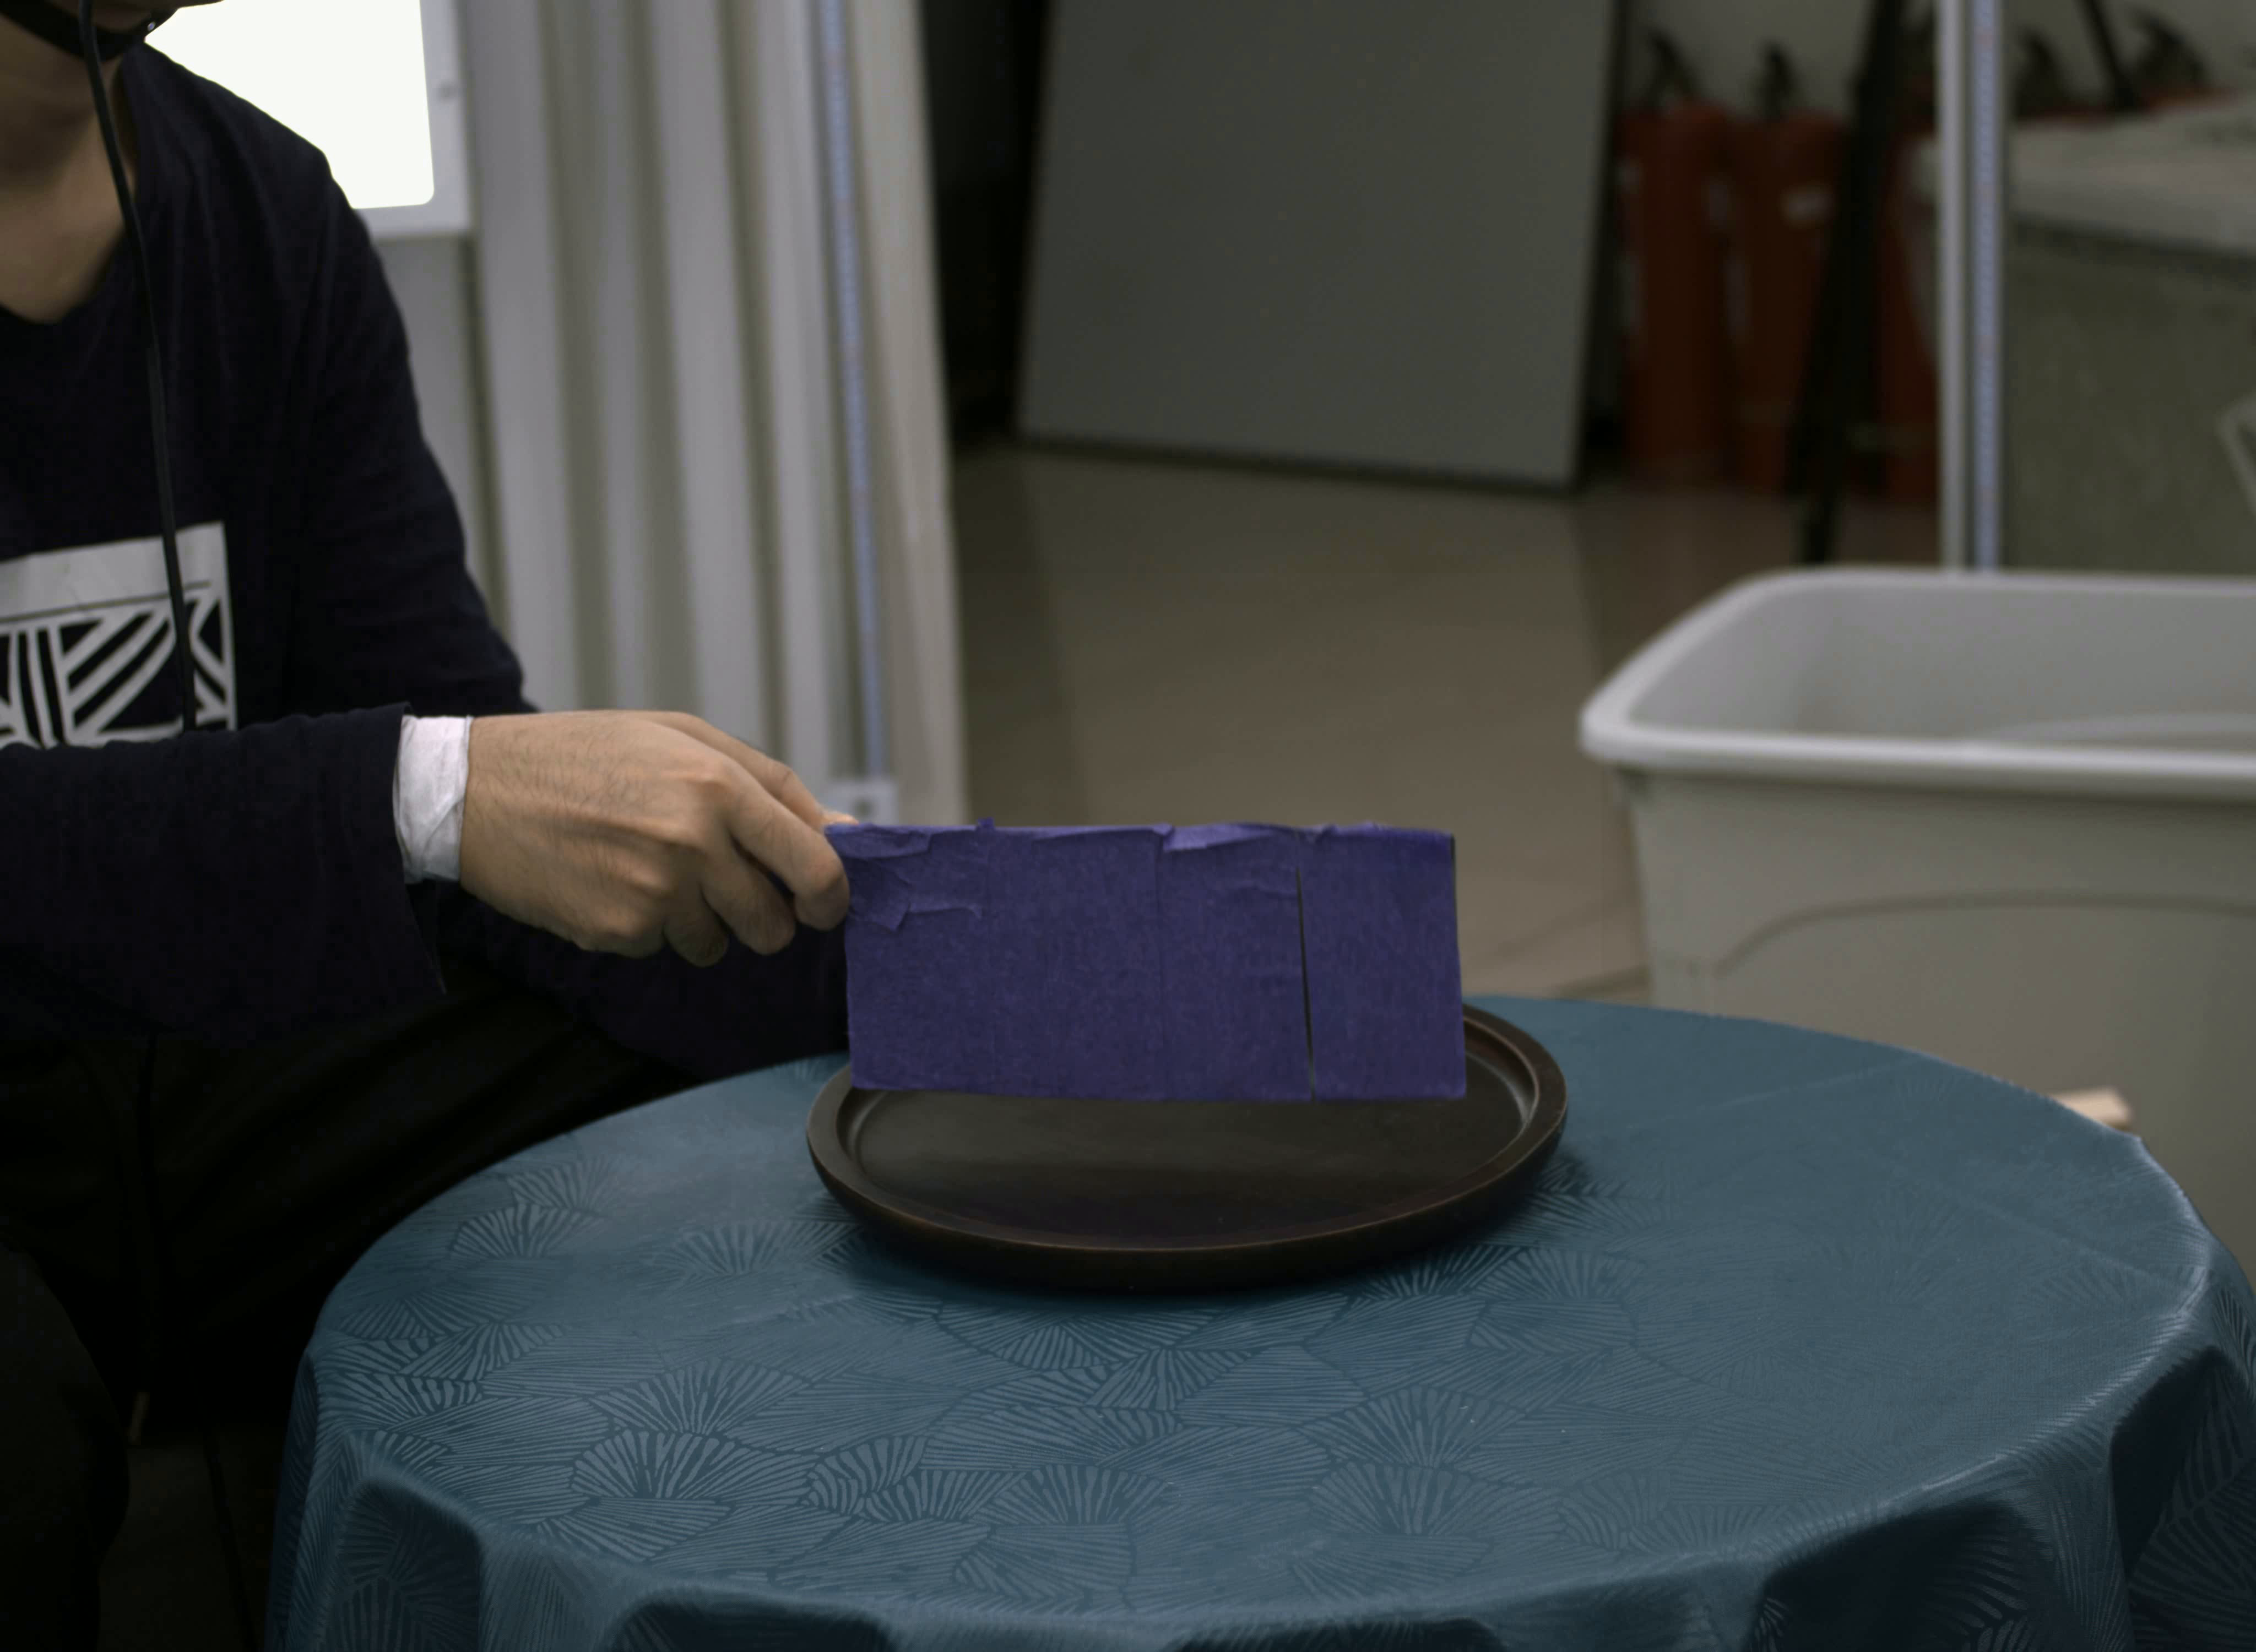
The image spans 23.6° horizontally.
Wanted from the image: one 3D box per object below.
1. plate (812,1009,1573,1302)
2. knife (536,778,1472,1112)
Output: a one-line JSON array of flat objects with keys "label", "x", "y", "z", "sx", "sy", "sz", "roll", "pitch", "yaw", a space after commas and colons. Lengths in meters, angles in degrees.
[{"label": "plate", "x": 0.021, "y": 0.101, "z": 1.770, "sx": 0.251, "sy": 0.029, "sz": 0.255, "roll": -3, "pitch": 18, "yaw": 0}, {"label": "knife", "x": -0.043, "y": 0.041, "z": 1.752, "sx": 0.314, "sy": 0.105, "sz": 0.032, "roll": -1, "pitch": 7, "yaw": 19}]
